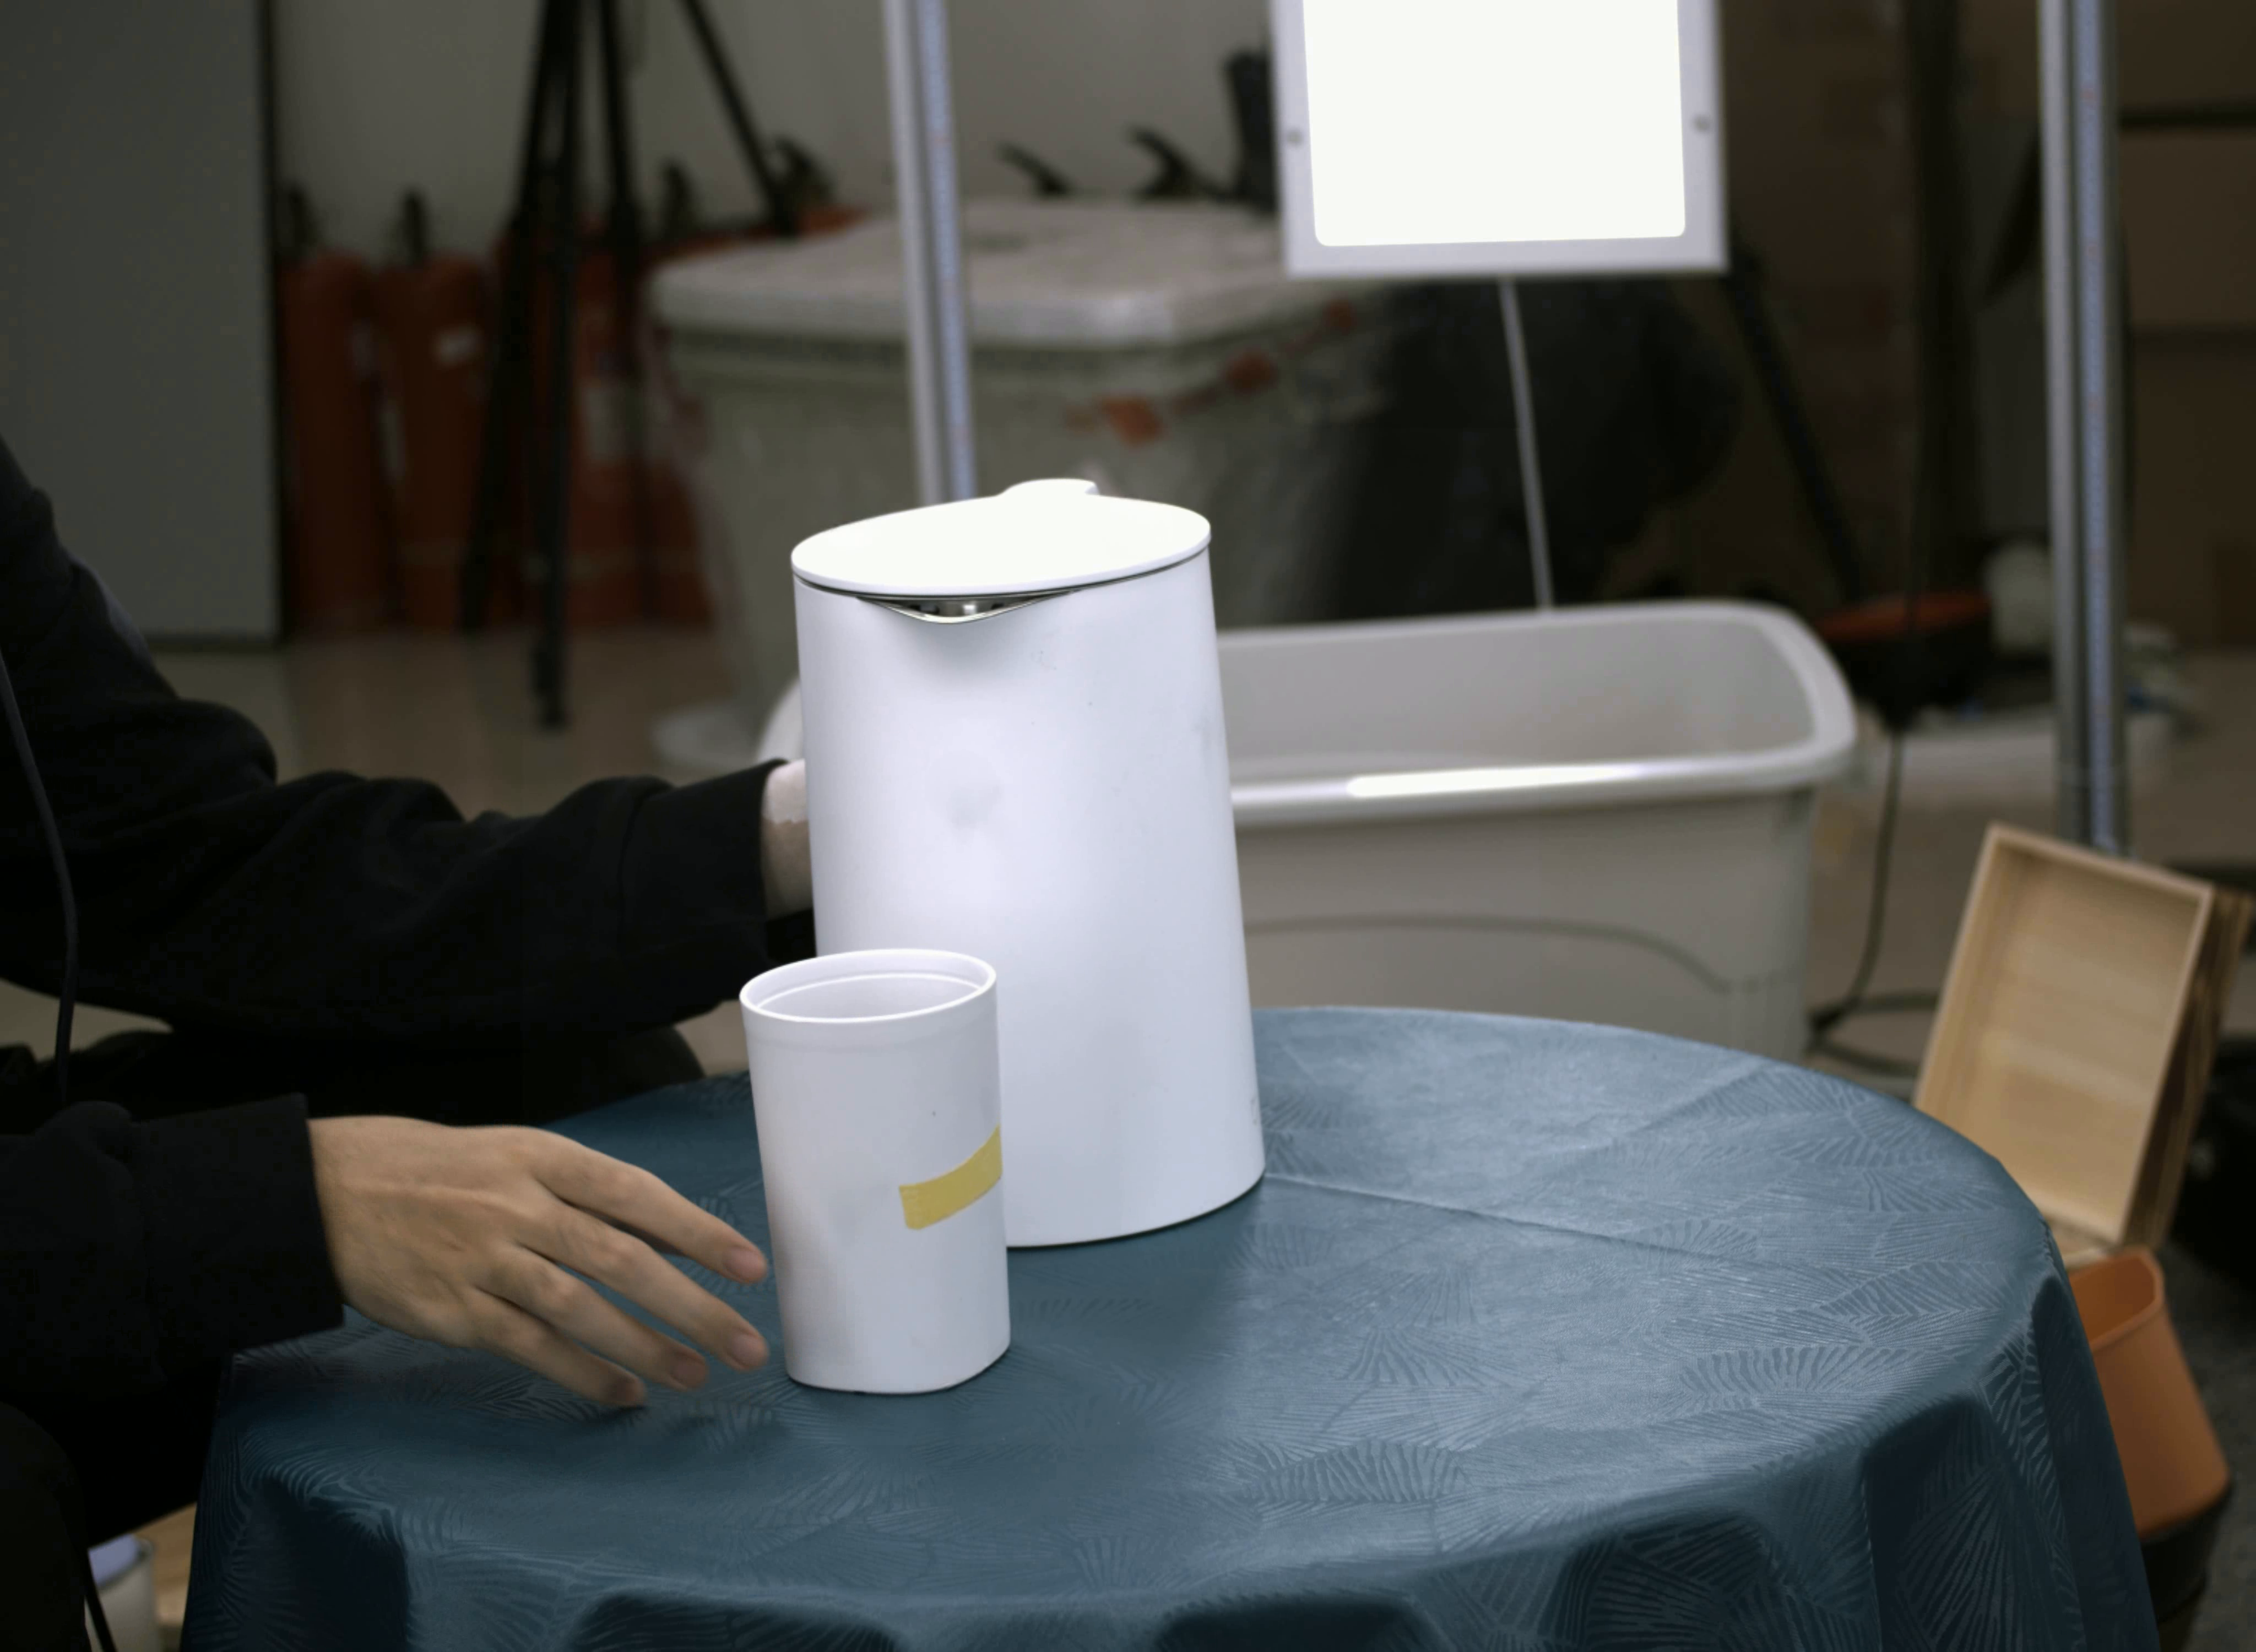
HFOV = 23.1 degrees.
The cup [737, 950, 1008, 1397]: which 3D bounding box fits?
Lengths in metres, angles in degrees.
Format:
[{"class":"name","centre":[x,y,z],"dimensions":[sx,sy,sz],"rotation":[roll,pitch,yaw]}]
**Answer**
[{"class":"cup","centre":[-0.077,0.109,1.731],"dimensions":[0.081,0.126,0.081],"rotation":[-5,13,0]}]

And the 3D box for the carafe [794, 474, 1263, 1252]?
[{"class":"carafe","centre":[-0.030,0.006,1.909],"dimensions":[0.153,0.241,0.211],"rotation":[0,15,11]}]
